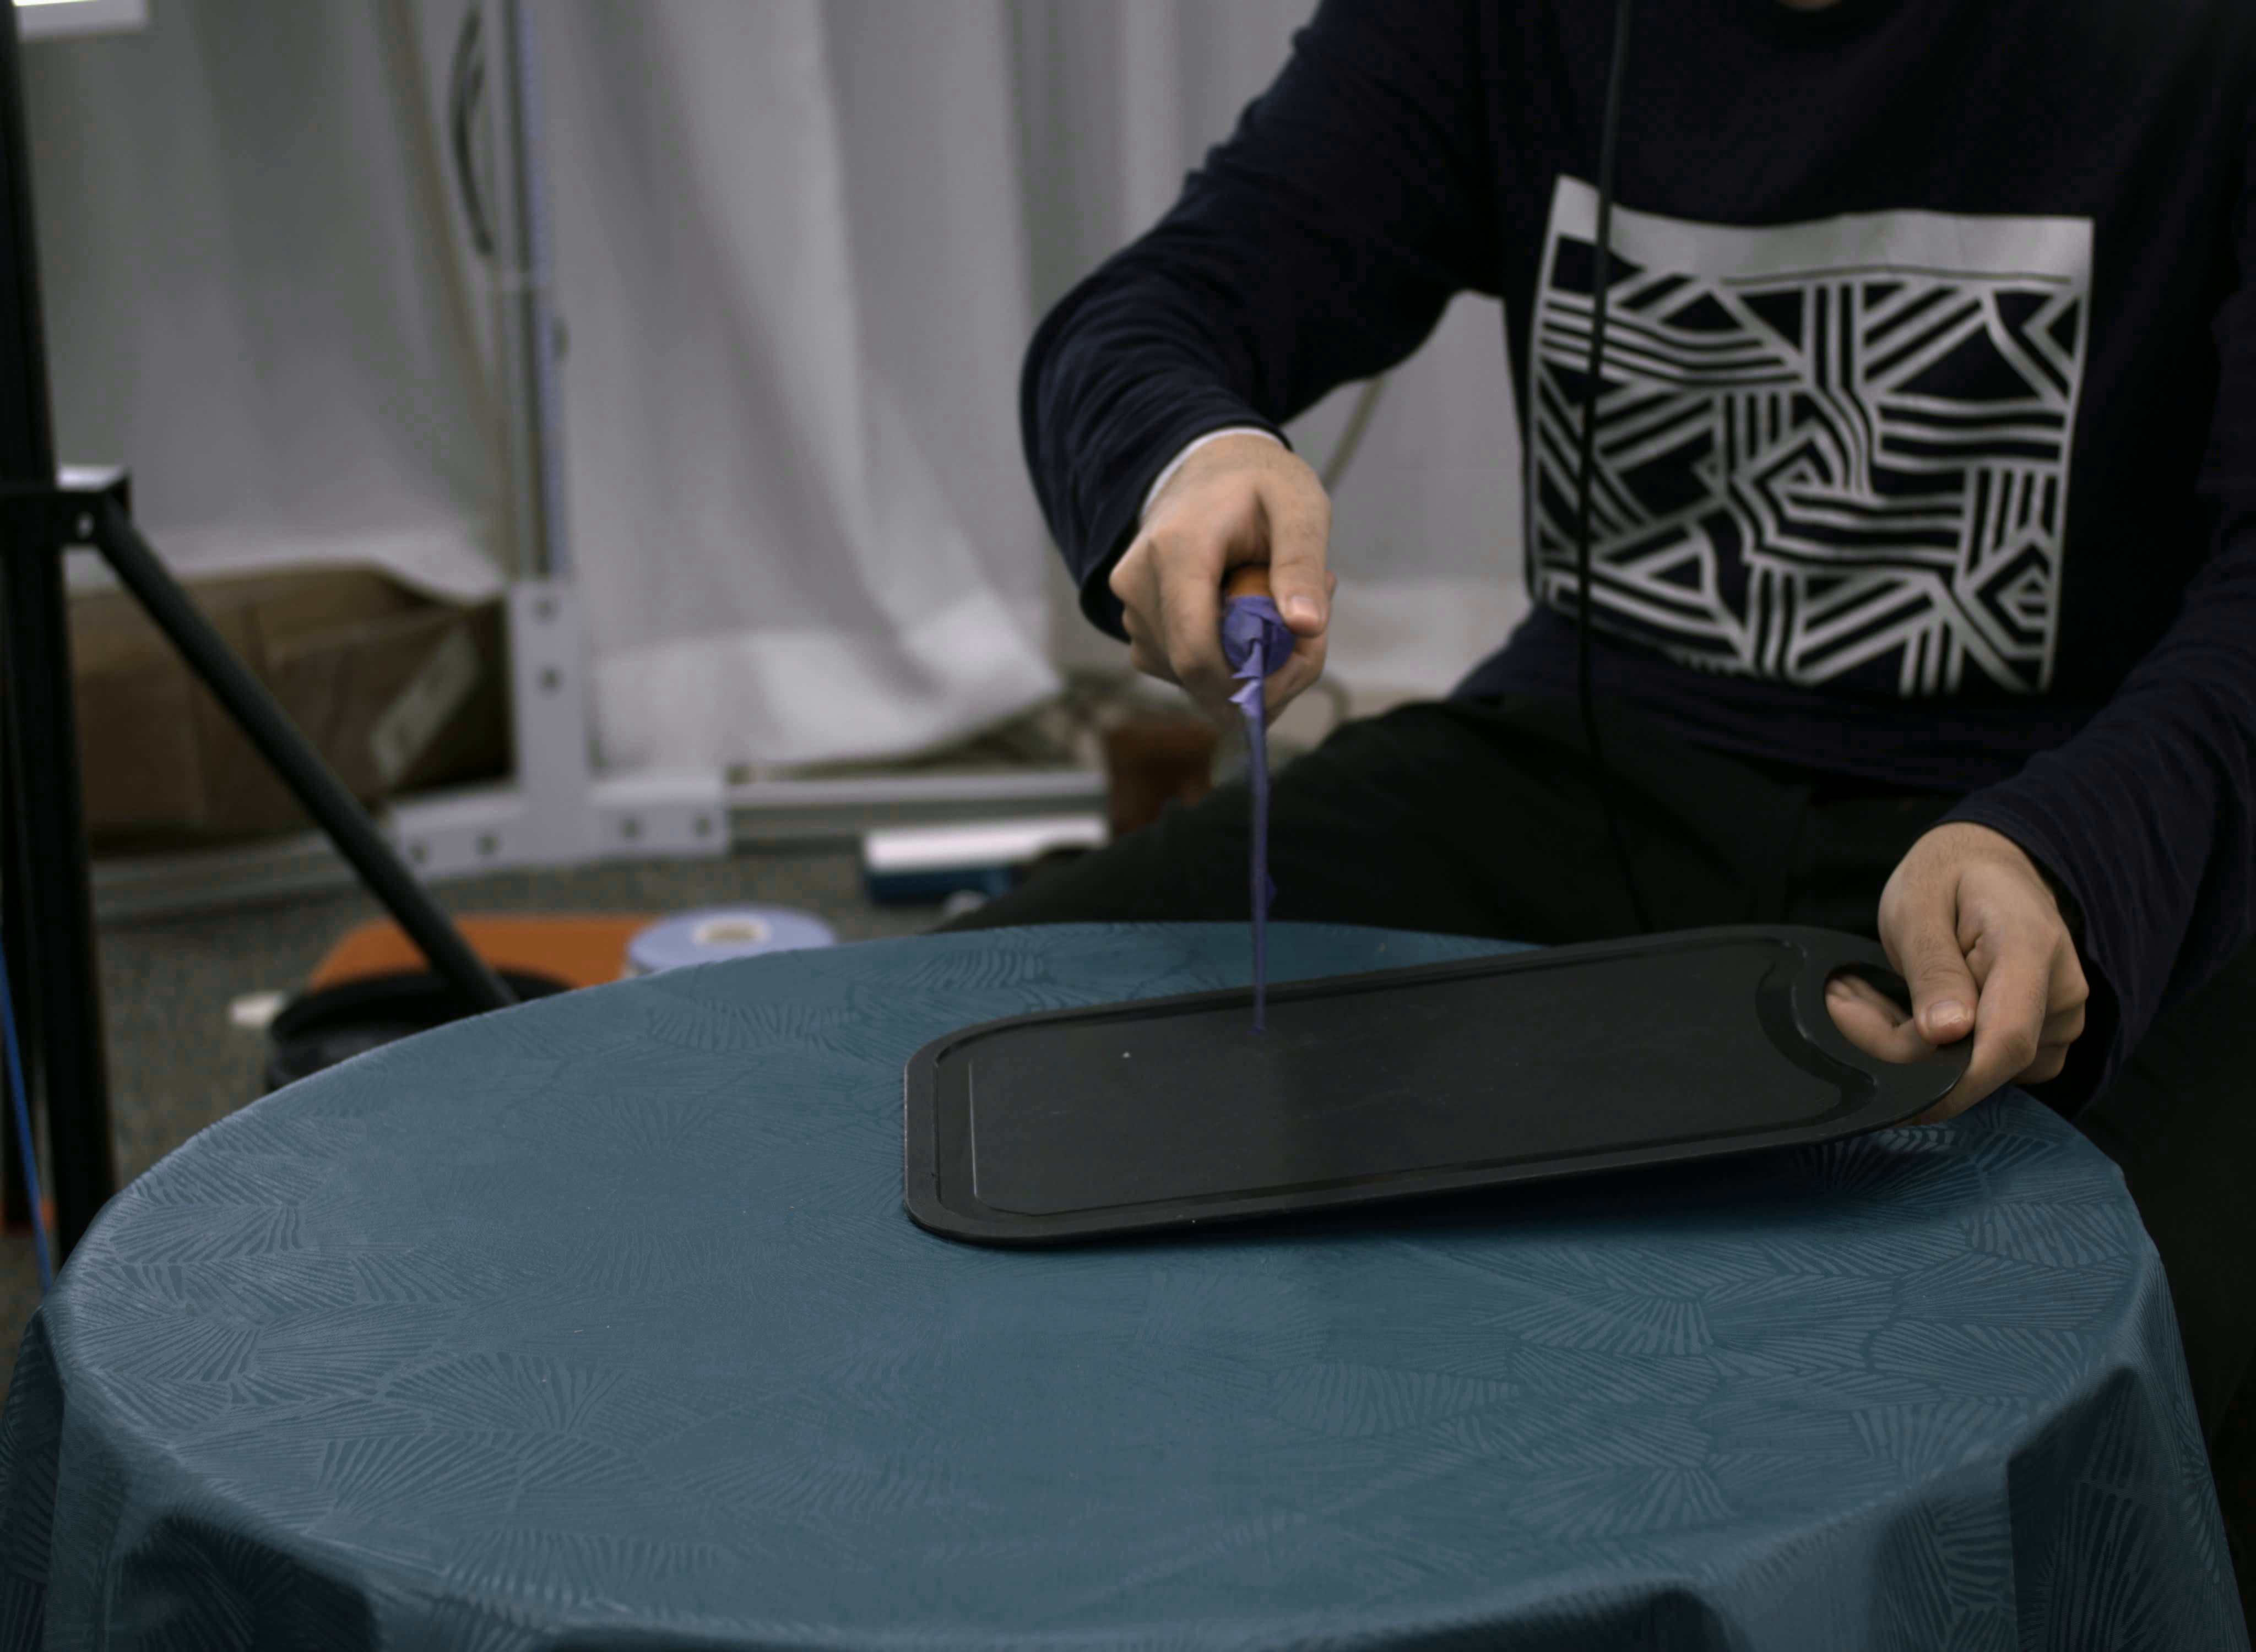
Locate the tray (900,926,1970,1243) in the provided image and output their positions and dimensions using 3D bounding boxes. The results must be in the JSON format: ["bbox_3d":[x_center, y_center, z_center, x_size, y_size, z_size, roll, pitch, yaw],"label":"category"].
[{"bbox_3d":[0.092,0.074,1.611,0.324,0.010,0.212,-7,16,2],"label":"tray"}]

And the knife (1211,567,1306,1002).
[{"bbox_3d":[0.038,-0.015,1.659,0.032,0.104,0.315,1,11,3],"label":"knife"}]
